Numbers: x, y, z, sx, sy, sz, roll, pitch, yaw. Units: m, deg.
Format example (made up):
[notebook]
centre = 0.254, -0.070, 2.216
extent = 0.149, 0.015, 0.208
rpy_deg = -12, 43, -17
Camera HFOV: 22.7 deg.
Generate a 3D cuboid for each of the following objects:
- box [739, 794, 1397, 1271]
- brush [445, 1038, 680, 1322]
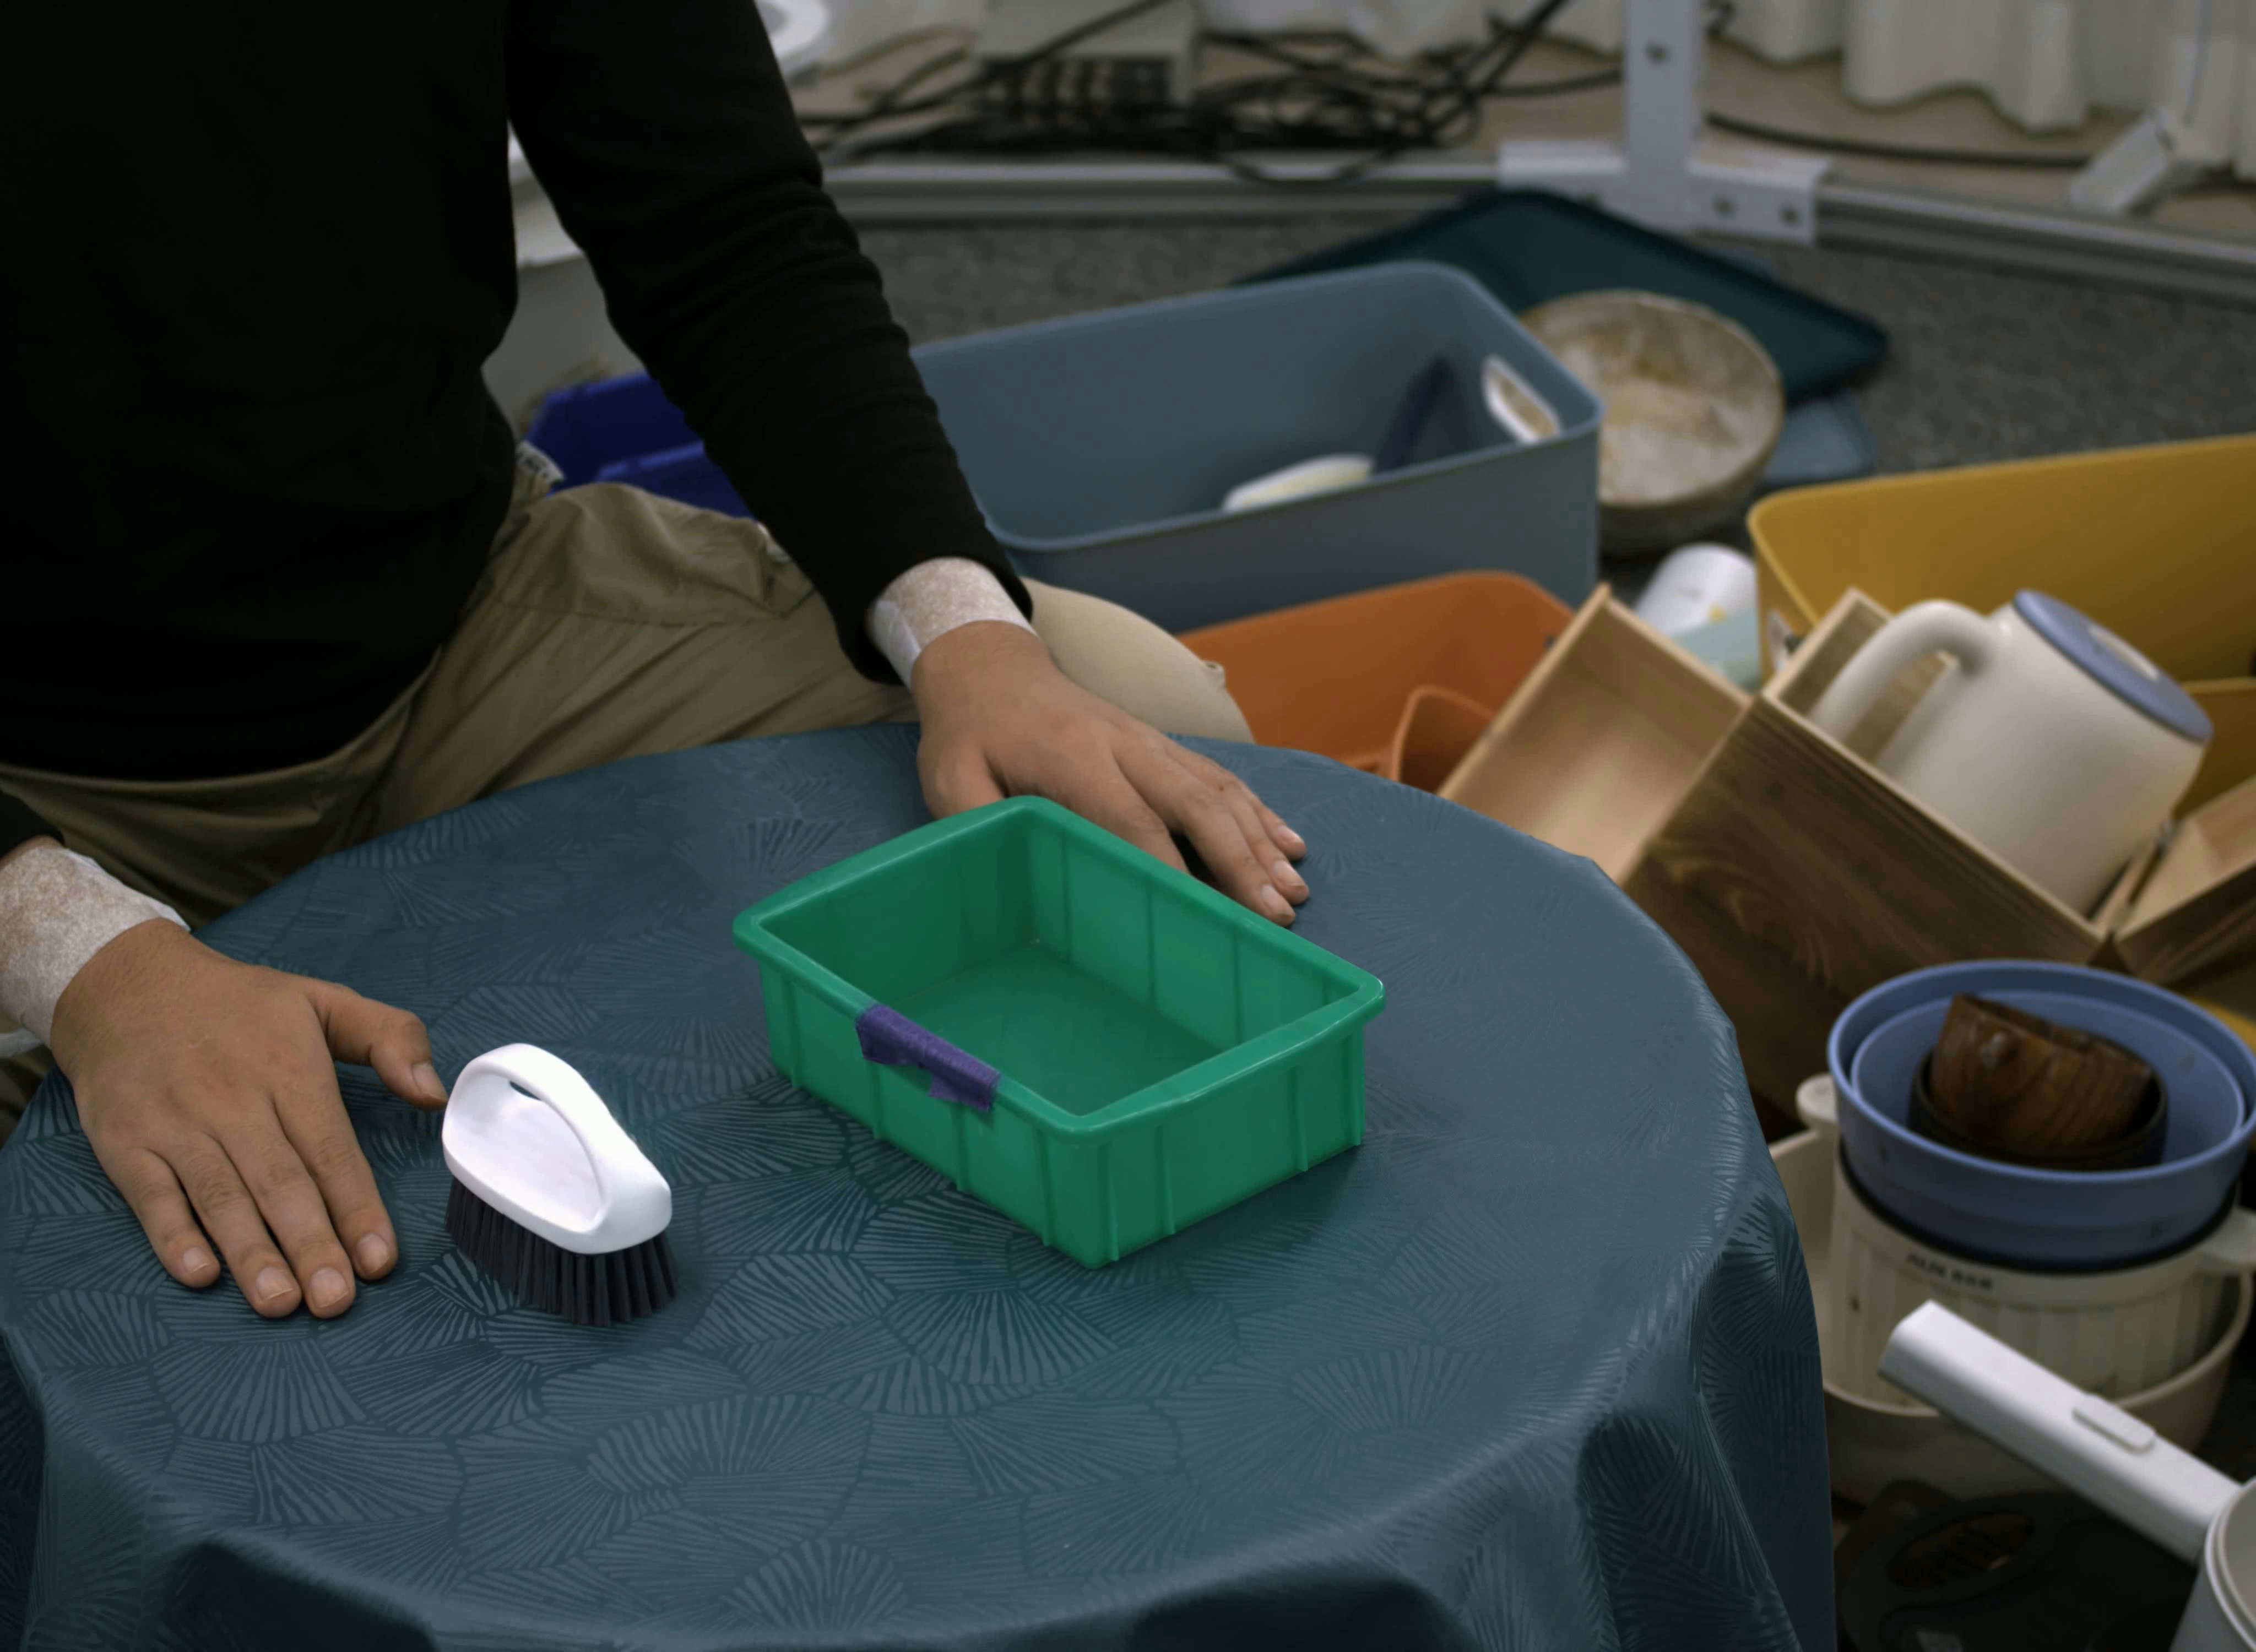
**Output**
[box]
centre = -0.020, 0.069, 1.897
extent = 0.140, 0.064, 0.210
rpy_deg = -25, 36, -33
[brush]
centre = -0.187, 0.109, 1.825
extent = 0.051, 0.072, 0.099
rpy_deg = -21, 32, -31
